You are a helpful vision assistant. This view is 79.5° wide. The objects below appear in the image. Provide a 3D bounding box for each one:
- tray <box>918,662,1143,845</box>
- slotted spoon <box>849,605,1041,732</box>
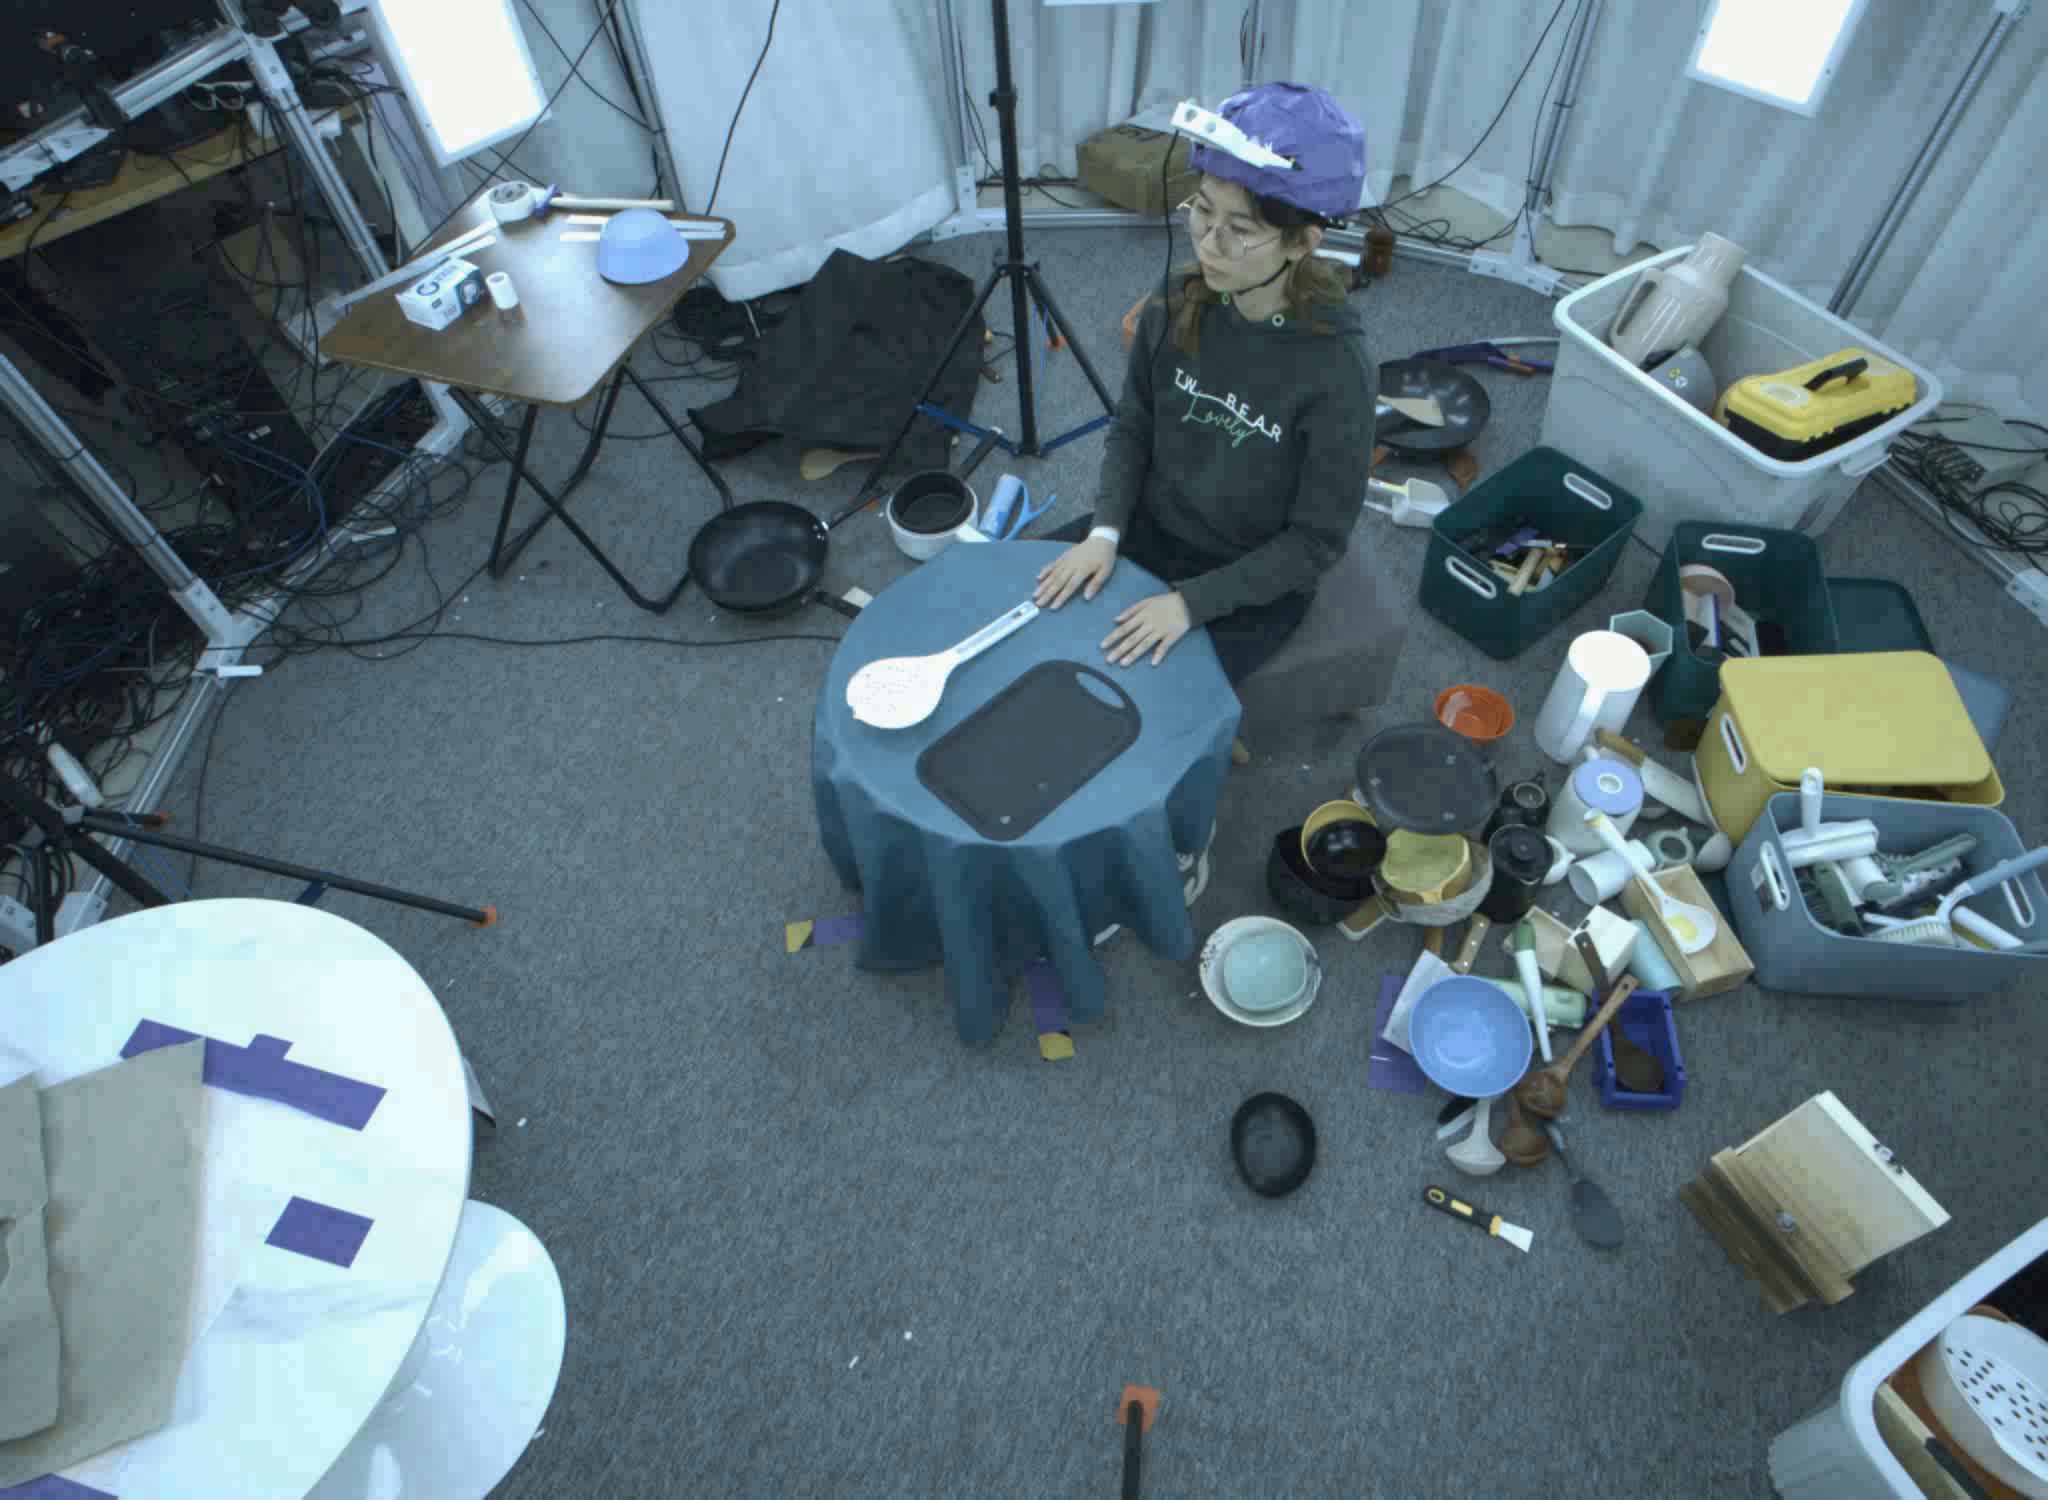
[{"bbox_3d":[0.016,-0.008,1.798,0.328,0.010,0.207,-39,63,-23],"label":"tray"},{"bbox_3d":[-0.112,-0.132,1.866,0.352,0.046,0.134,-37,64,-23],"label":"slotted spoon"}]
